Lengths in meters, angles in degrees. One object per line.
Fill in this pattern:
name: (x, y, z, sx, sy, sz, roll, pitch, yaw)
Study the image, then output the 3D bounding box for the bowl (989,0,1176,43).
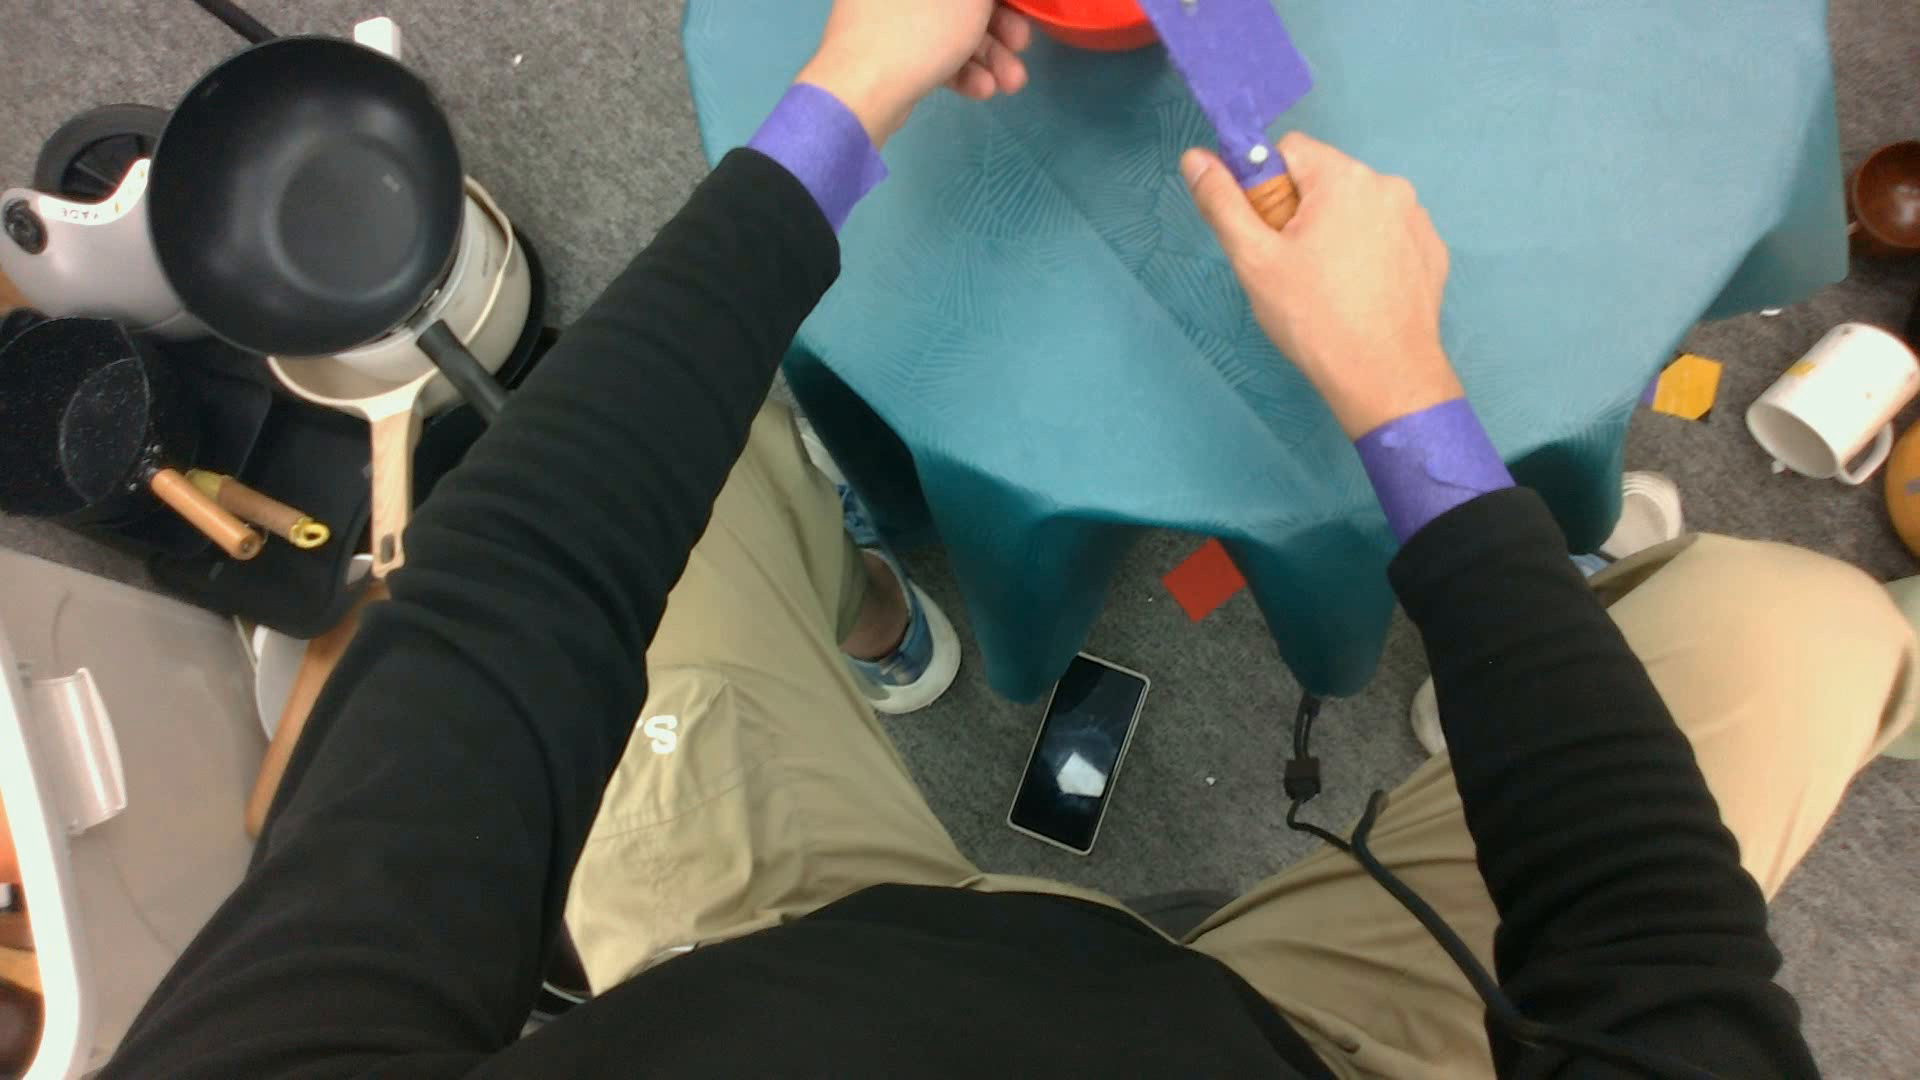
bowl: (0.057, -0.312, 0.700, 0.148, 0.104, 0.148, -1, 78, 6)

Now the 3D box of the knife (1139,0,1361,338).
knife: (0.113, -0.247, 0.634, 0.104, 0.032, 0.315, -44, 108, -36)
